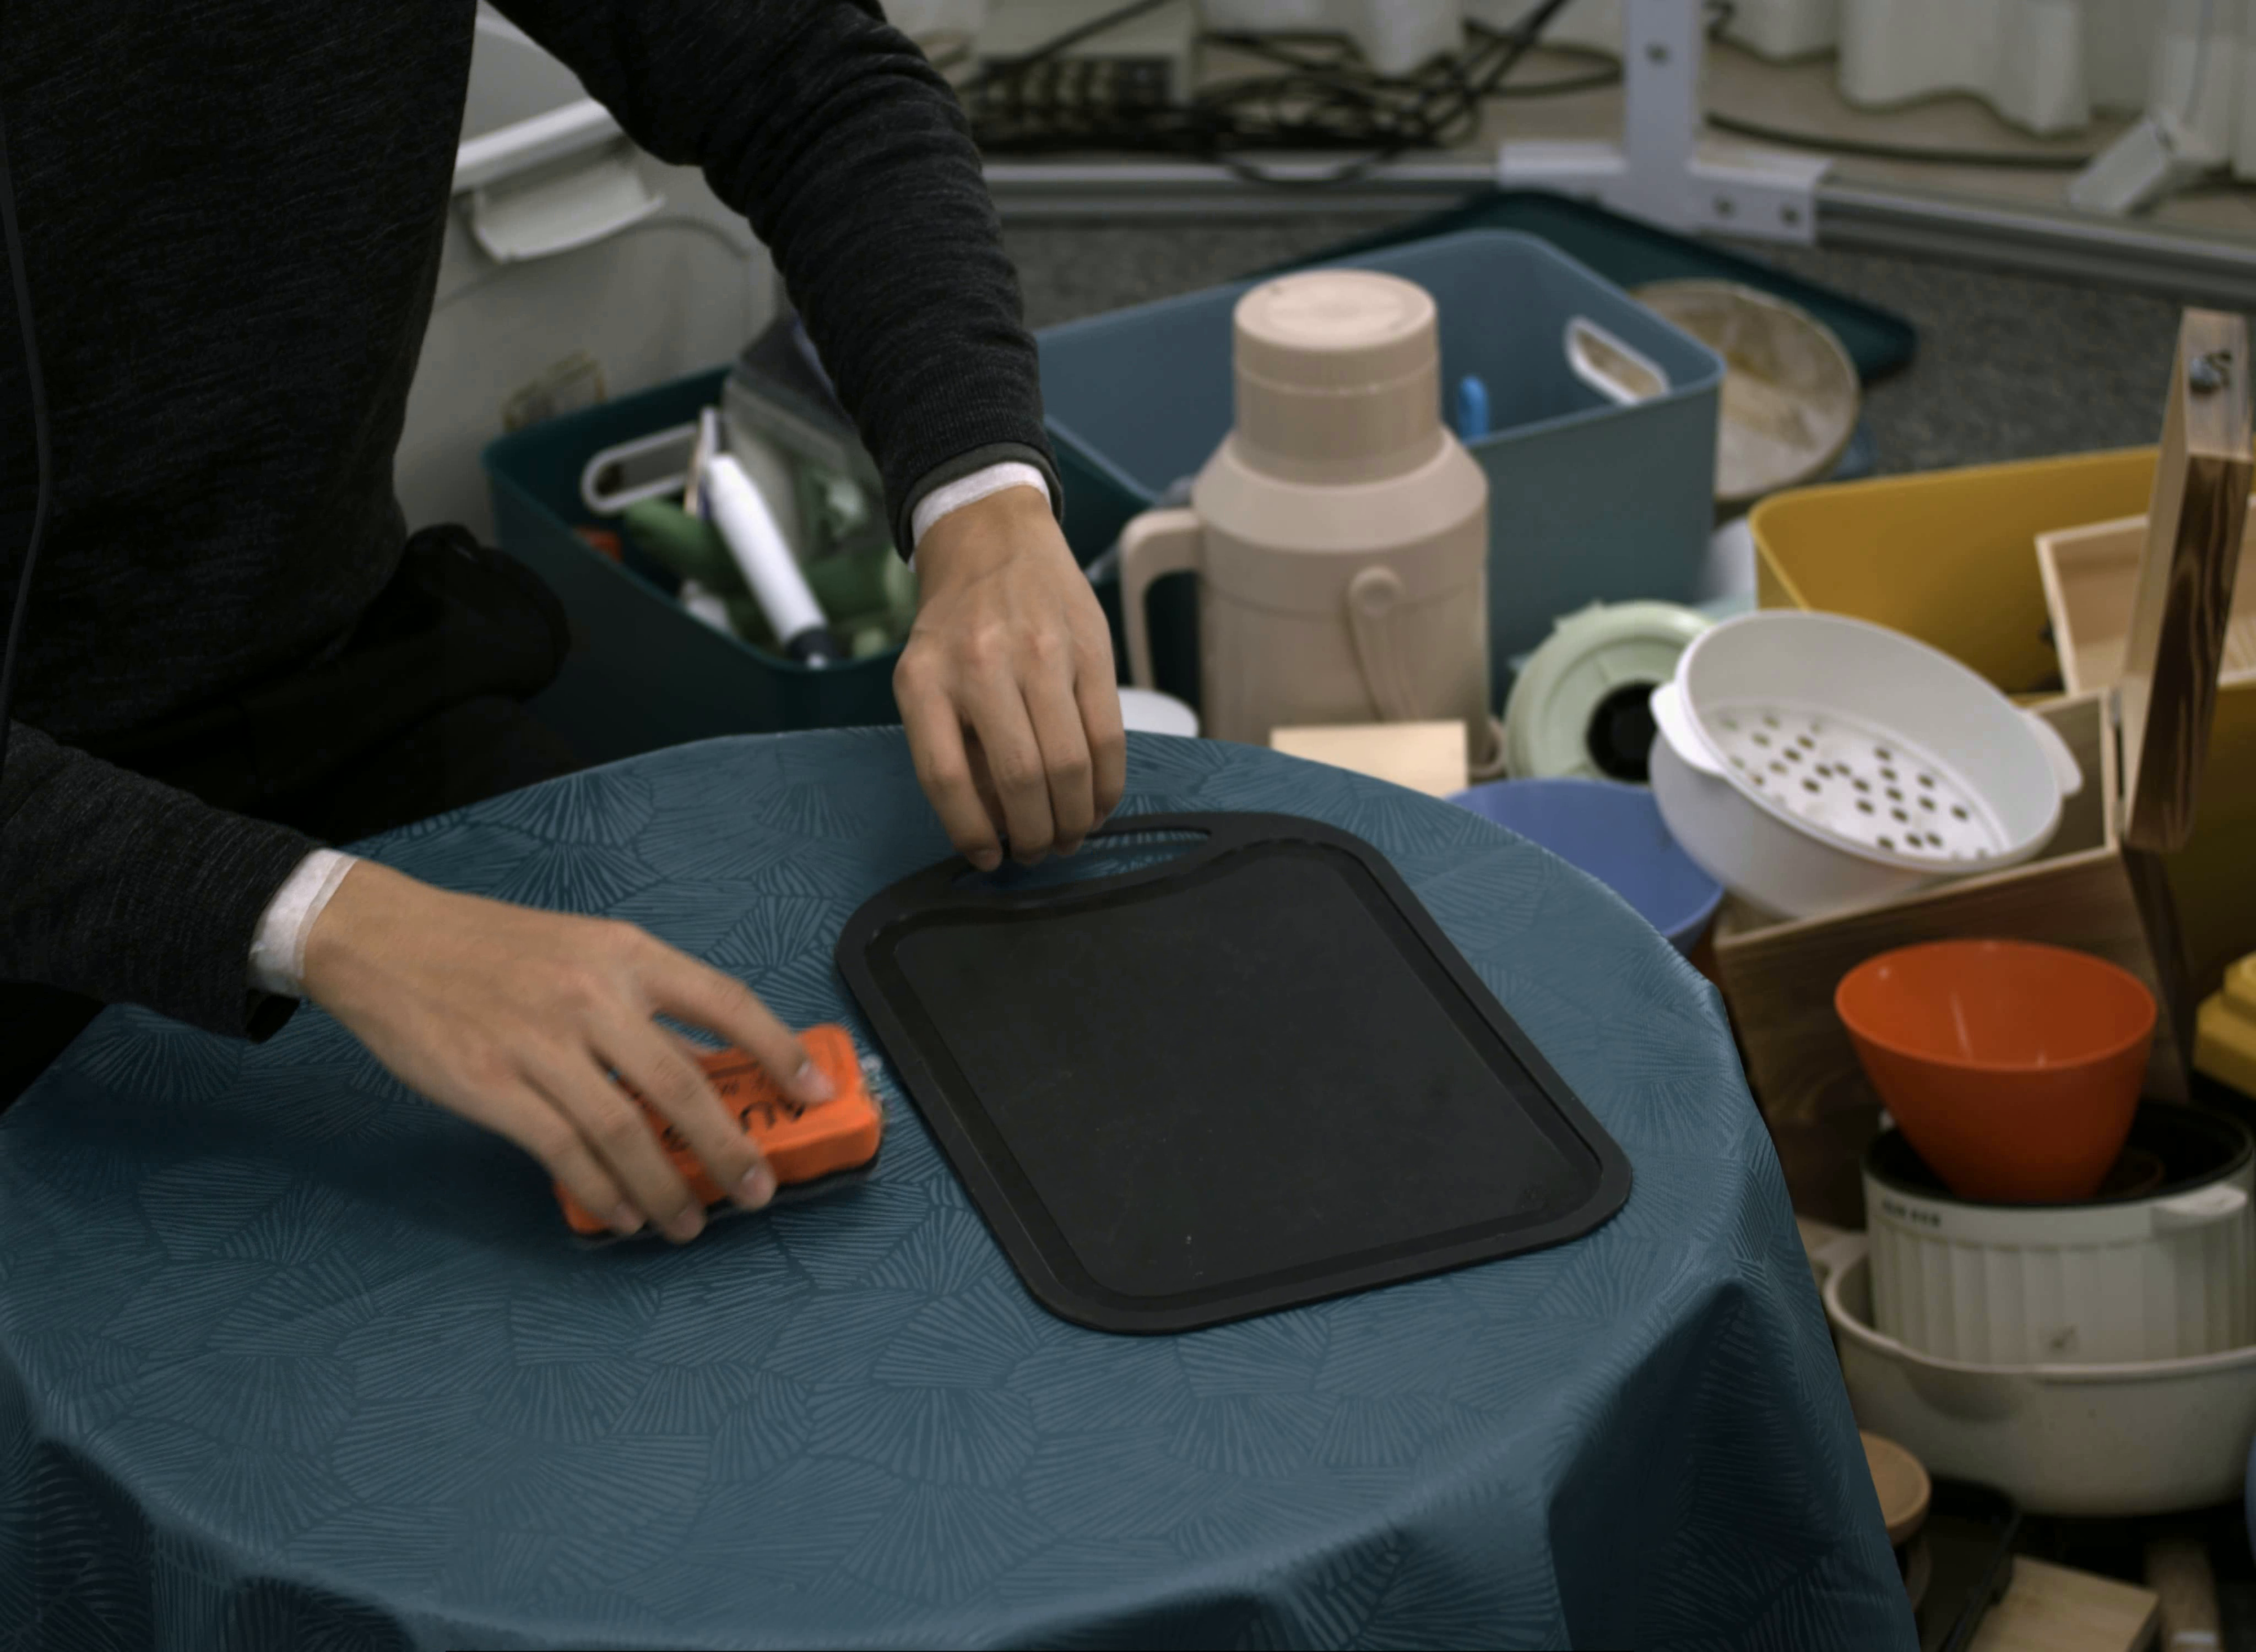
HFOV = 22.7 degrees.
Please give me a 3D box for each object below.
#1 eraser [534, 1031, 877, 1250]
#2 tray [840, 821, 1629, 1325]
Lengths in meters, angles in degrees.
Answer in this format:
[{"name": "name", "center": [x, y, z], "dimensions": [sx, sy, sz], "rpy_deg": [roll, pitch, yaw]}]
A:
[{"name": "eraser", "center": [-0.140, 0.104, 1.859], "dimensions": [0.108, 0.022, 0.060], "rpy_deg": [-15, 33, -7]}, {"name": "tray", "center": [0.027, 0.076, 1.937], "dimensions": [0.211, 0.009, 0.328], "rpy_deg": [-10, 29, -15]}]
